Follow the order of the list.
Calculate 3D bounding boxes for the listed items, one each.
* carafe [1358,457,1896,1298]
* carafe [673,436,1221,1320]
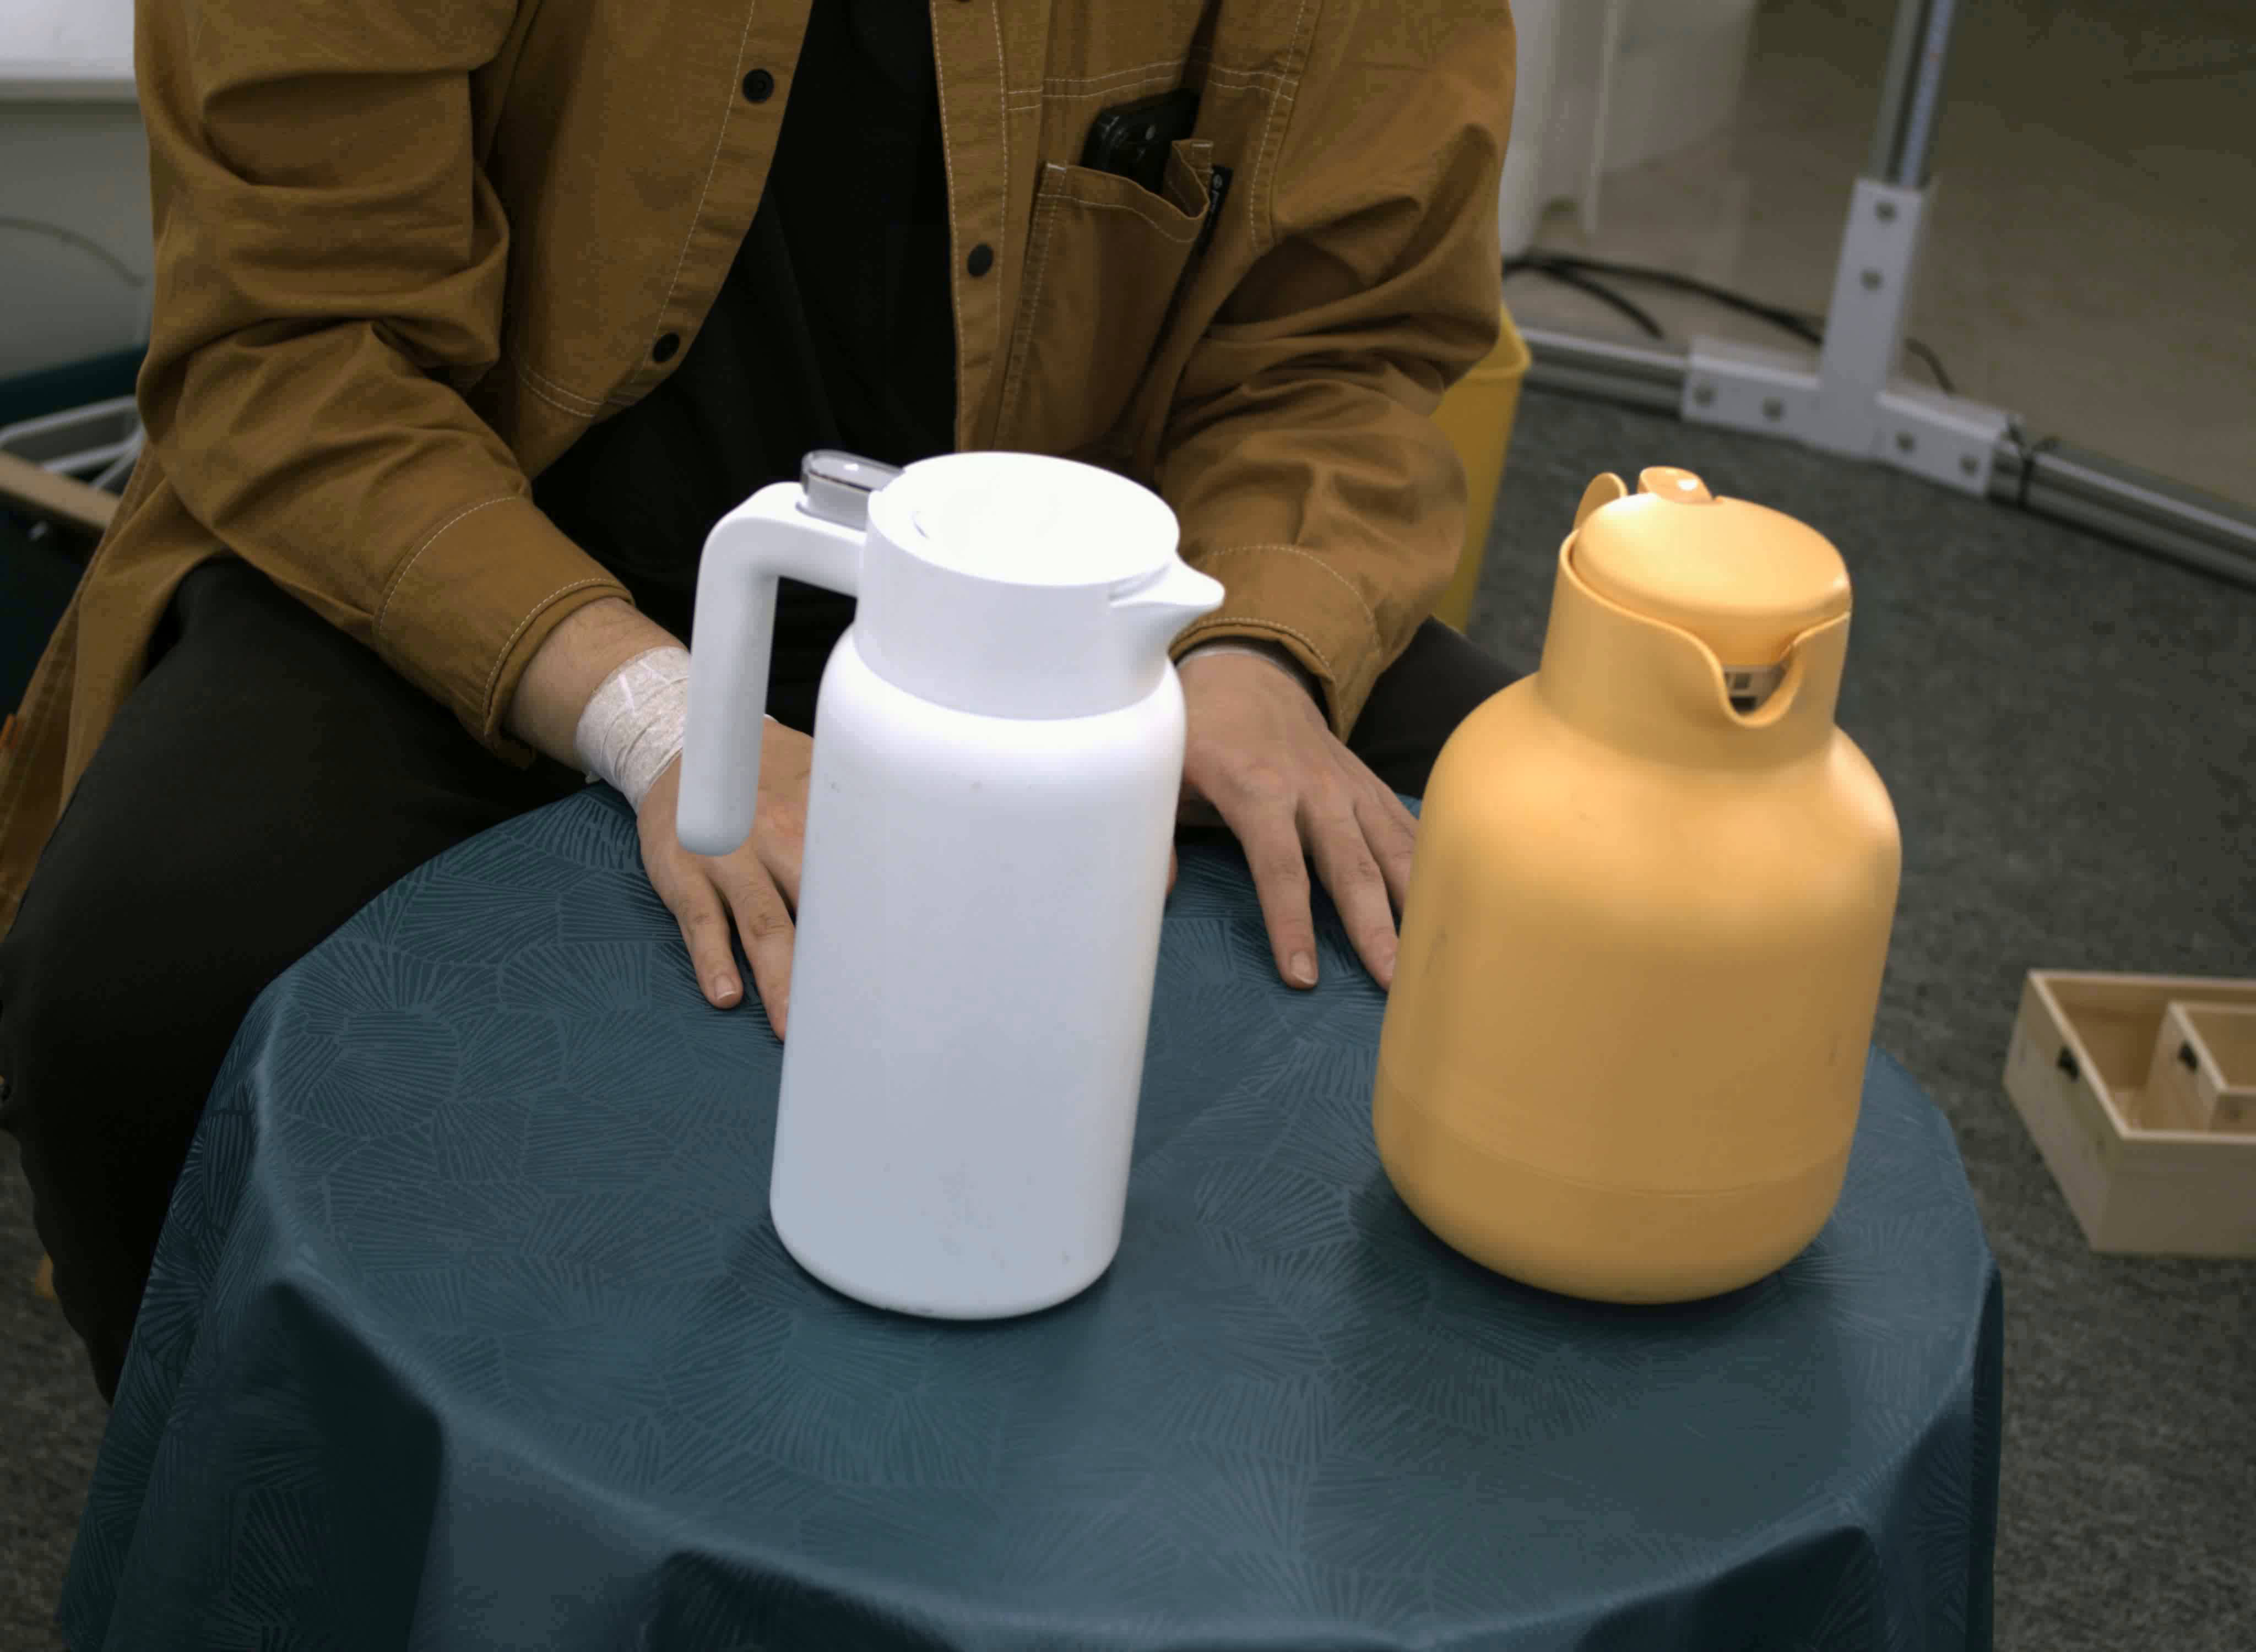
[{"bbox_3d":[0.171,0.008,1.782,0.162,0.259,0.204,6,28,-9],"label":"carafe"},{"bbox_3d":[-0.065,0.015,1.711,0.173,0.268,0.124,16,29,17],"label":"carafe"}]
